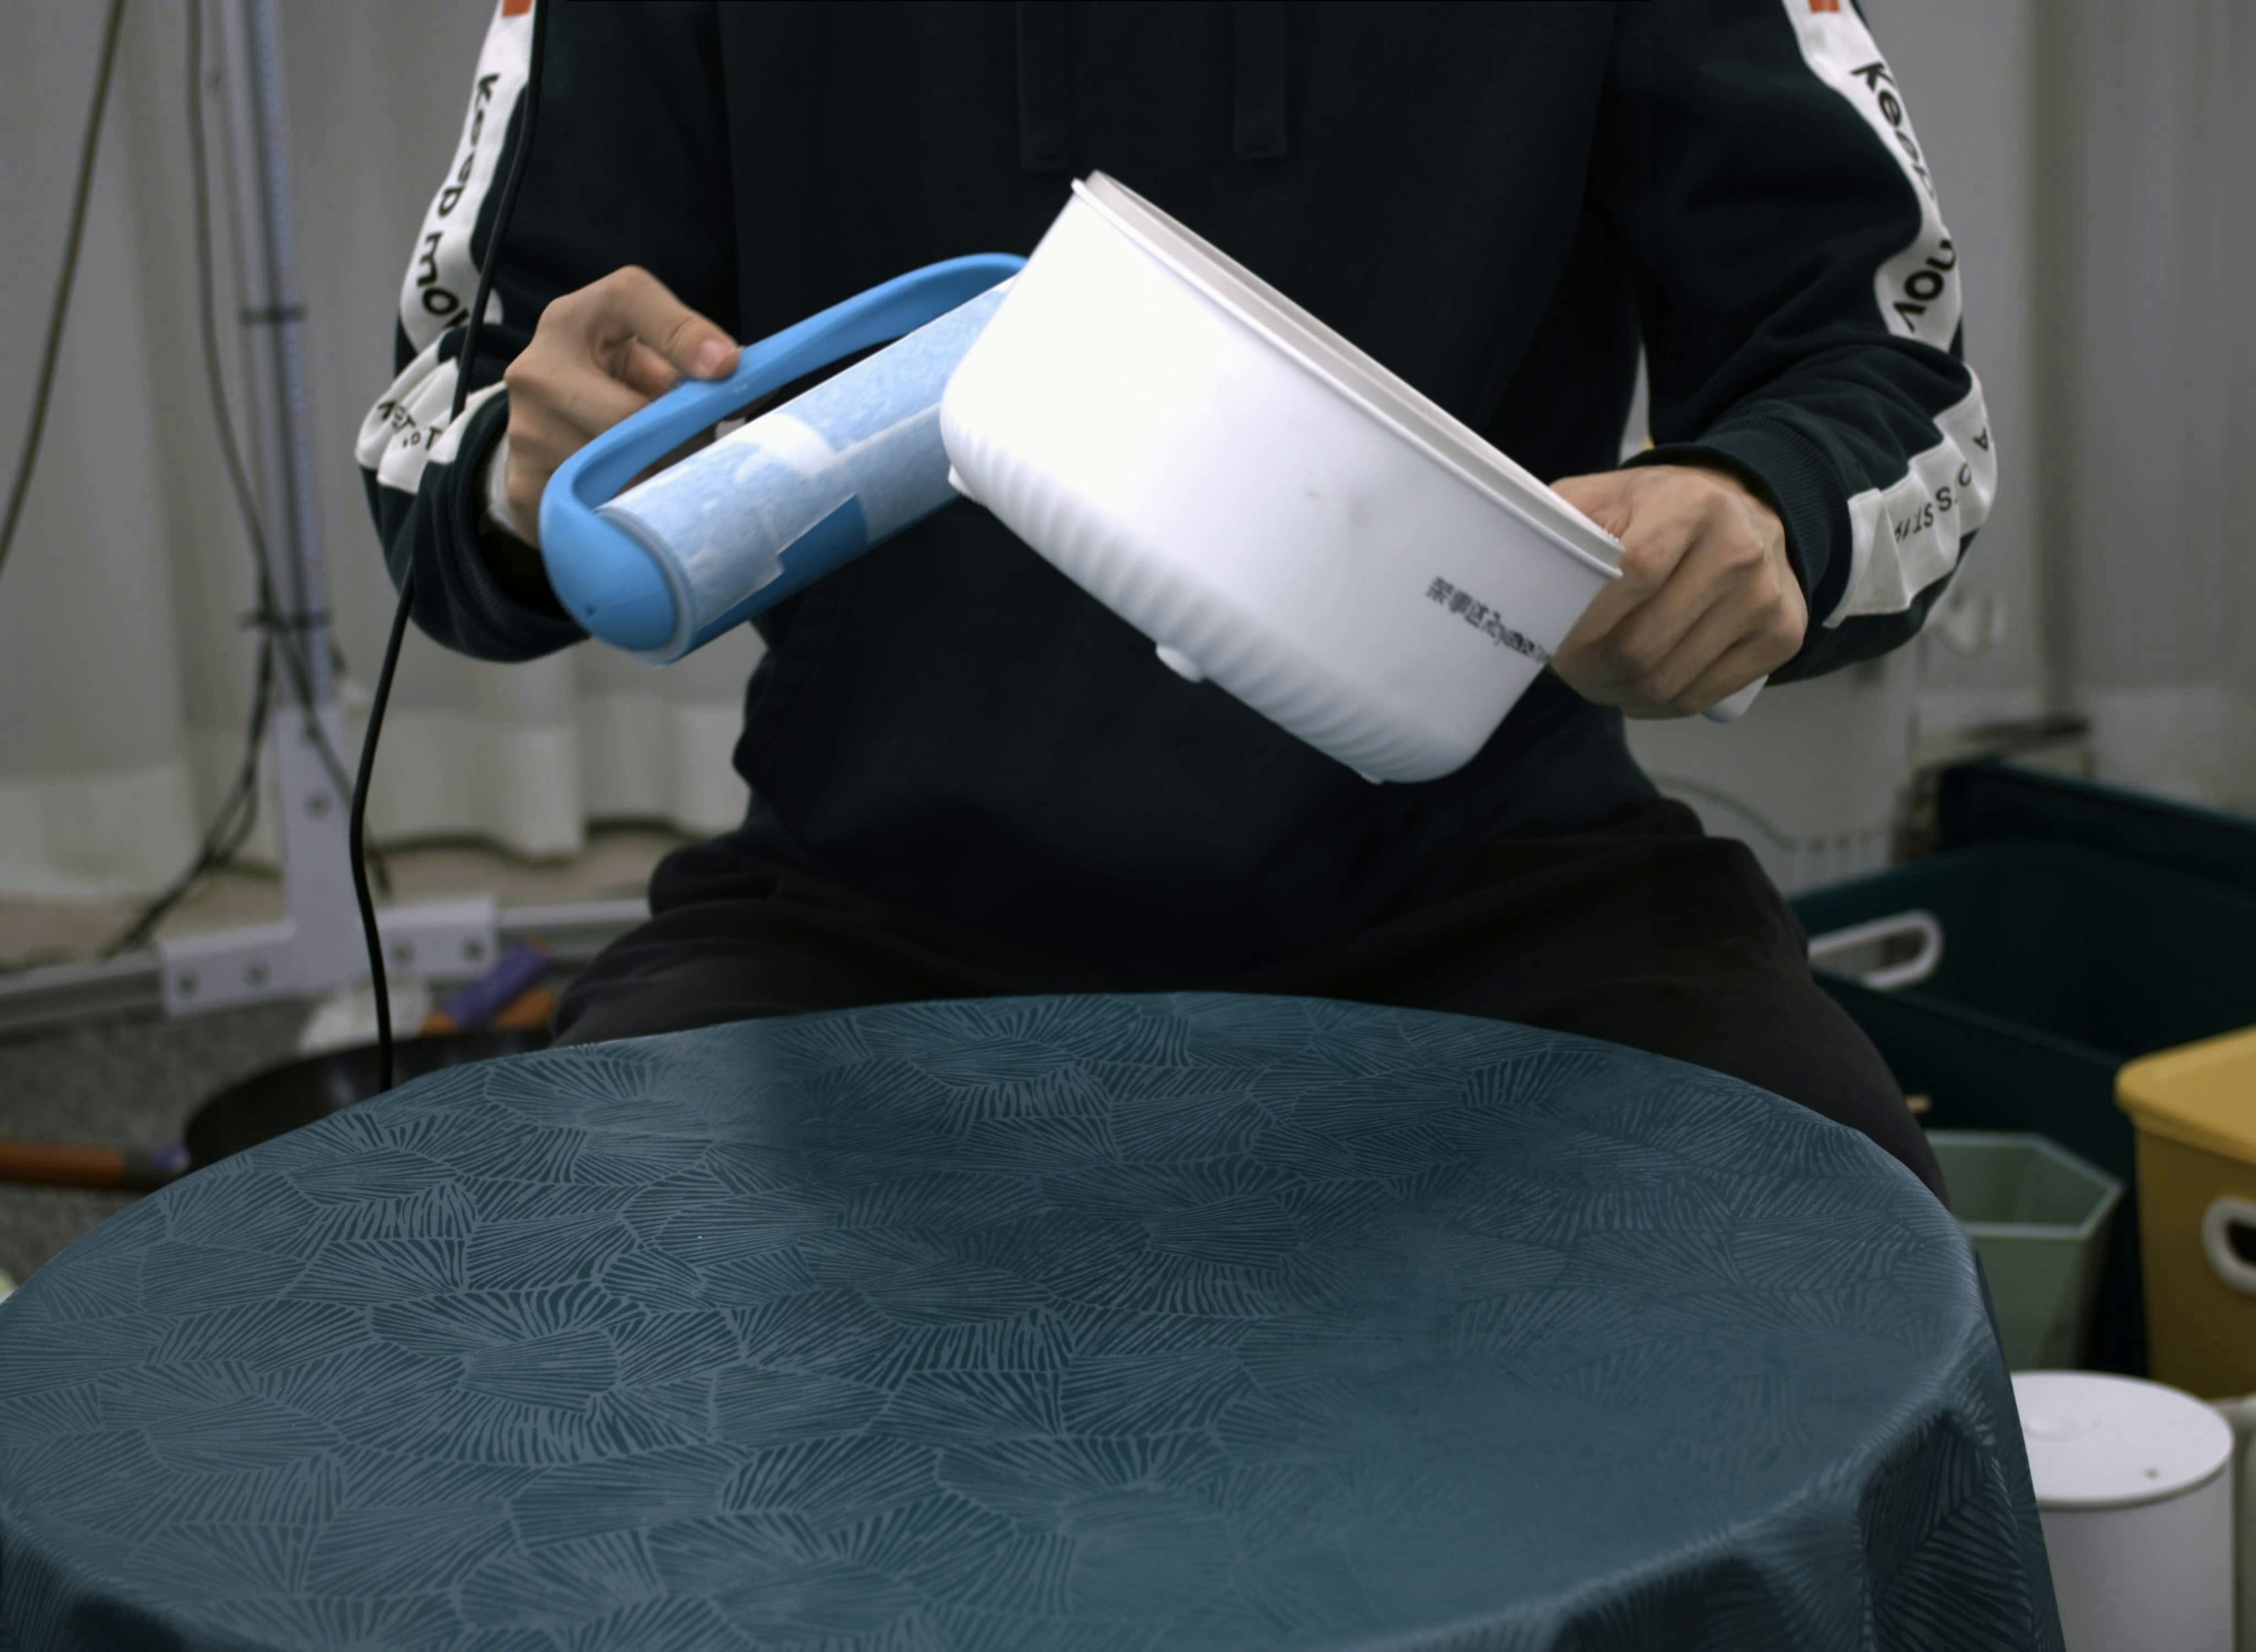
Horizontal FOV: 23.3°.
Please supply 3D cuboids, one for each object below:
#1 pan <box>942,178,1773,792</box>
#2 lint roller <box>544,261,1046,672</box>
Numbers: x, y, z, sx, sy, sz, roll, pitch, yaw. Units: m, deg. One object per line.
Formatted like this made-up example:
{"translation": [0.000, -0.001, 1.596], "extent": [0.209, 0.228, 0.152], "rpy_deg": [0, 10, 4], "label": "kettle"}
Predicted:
{"translation": [0.082, -0.073, 1.690], "extent": [0.203, 0.102, 0.351], "rpy_deg": [40, 7, 38], "label": "pan"}
{"translation": [-0.128, -0.115, 1.771], "extent": [0.181, 0.067, 0.230], "rpy_deg": [1, 28, 45], "label": "lint roller"}
